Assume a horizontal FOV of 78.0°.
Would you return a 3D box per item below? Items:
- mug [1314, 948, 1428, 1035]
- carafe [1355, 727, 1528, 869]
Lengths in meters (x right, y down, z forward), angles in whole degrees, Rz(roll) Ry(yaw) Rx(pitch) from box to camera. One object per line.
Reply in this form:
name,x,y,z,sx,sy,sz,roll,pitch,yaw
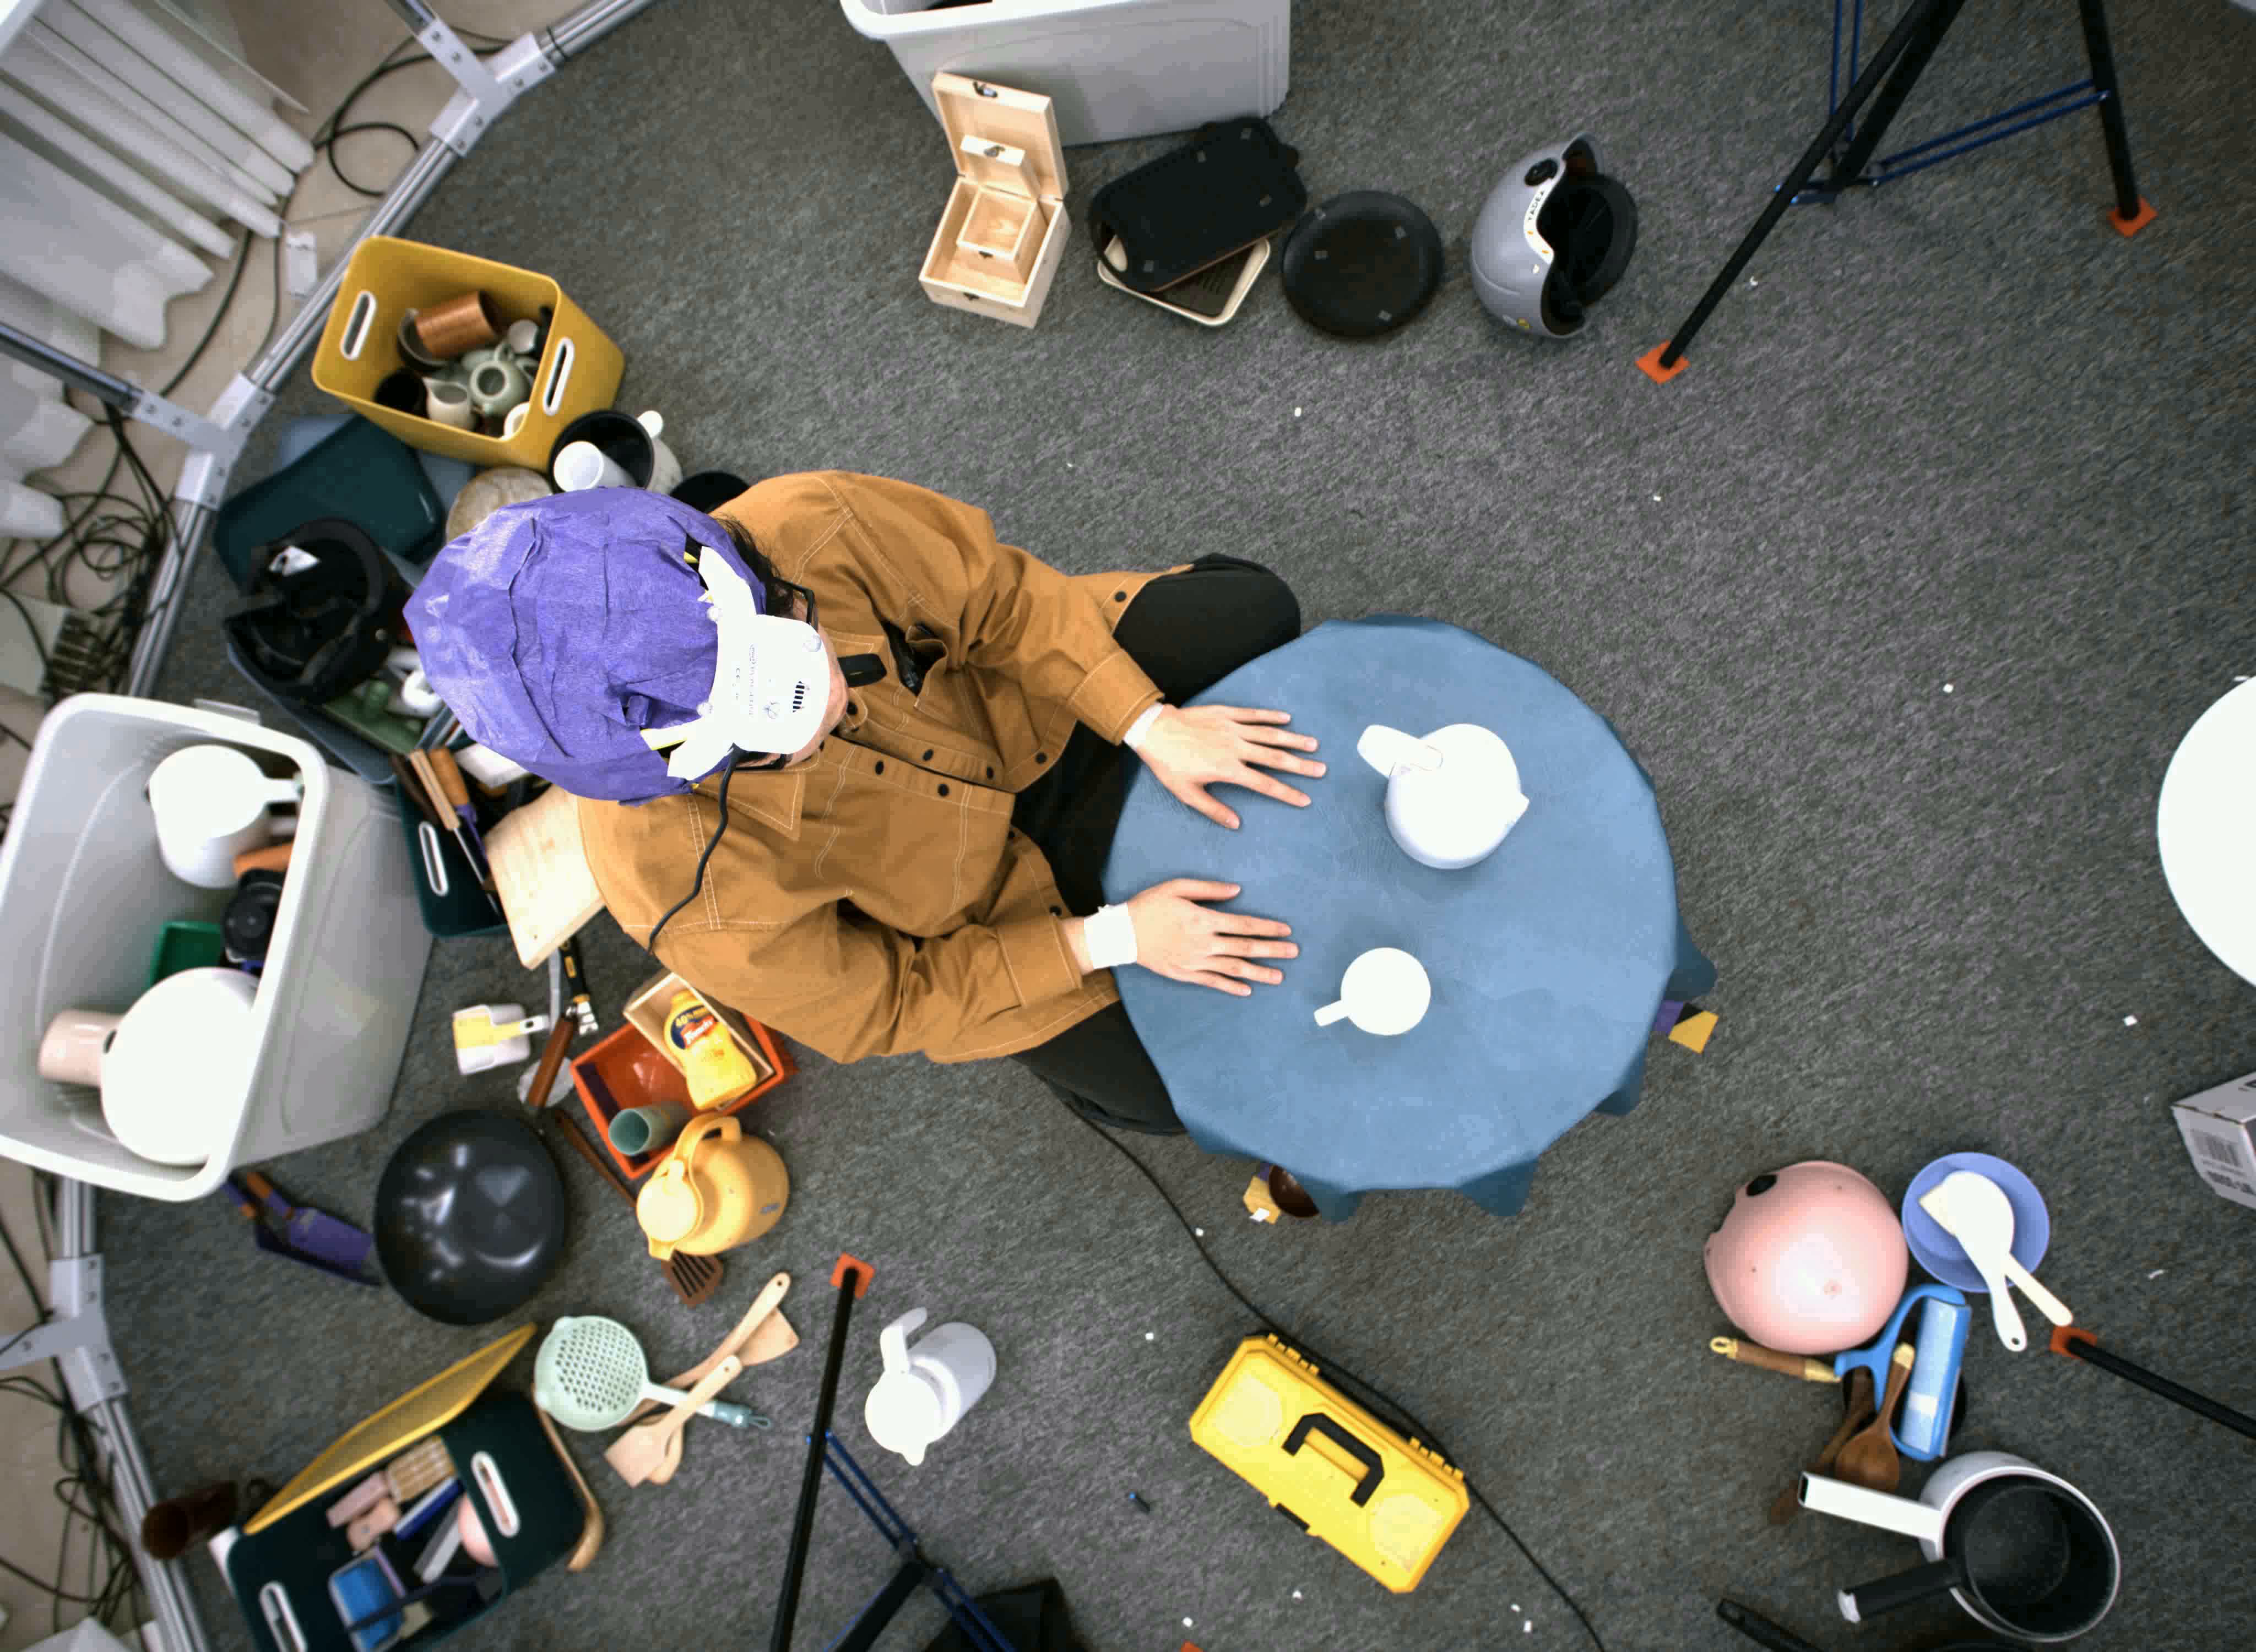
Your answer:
mug,0.247,0.173,1.409,0.119,0.102,0.084,-25,81,8
carafe,0.299,-0.041,1.335,0.167,0.248,0.133,28,91,12
